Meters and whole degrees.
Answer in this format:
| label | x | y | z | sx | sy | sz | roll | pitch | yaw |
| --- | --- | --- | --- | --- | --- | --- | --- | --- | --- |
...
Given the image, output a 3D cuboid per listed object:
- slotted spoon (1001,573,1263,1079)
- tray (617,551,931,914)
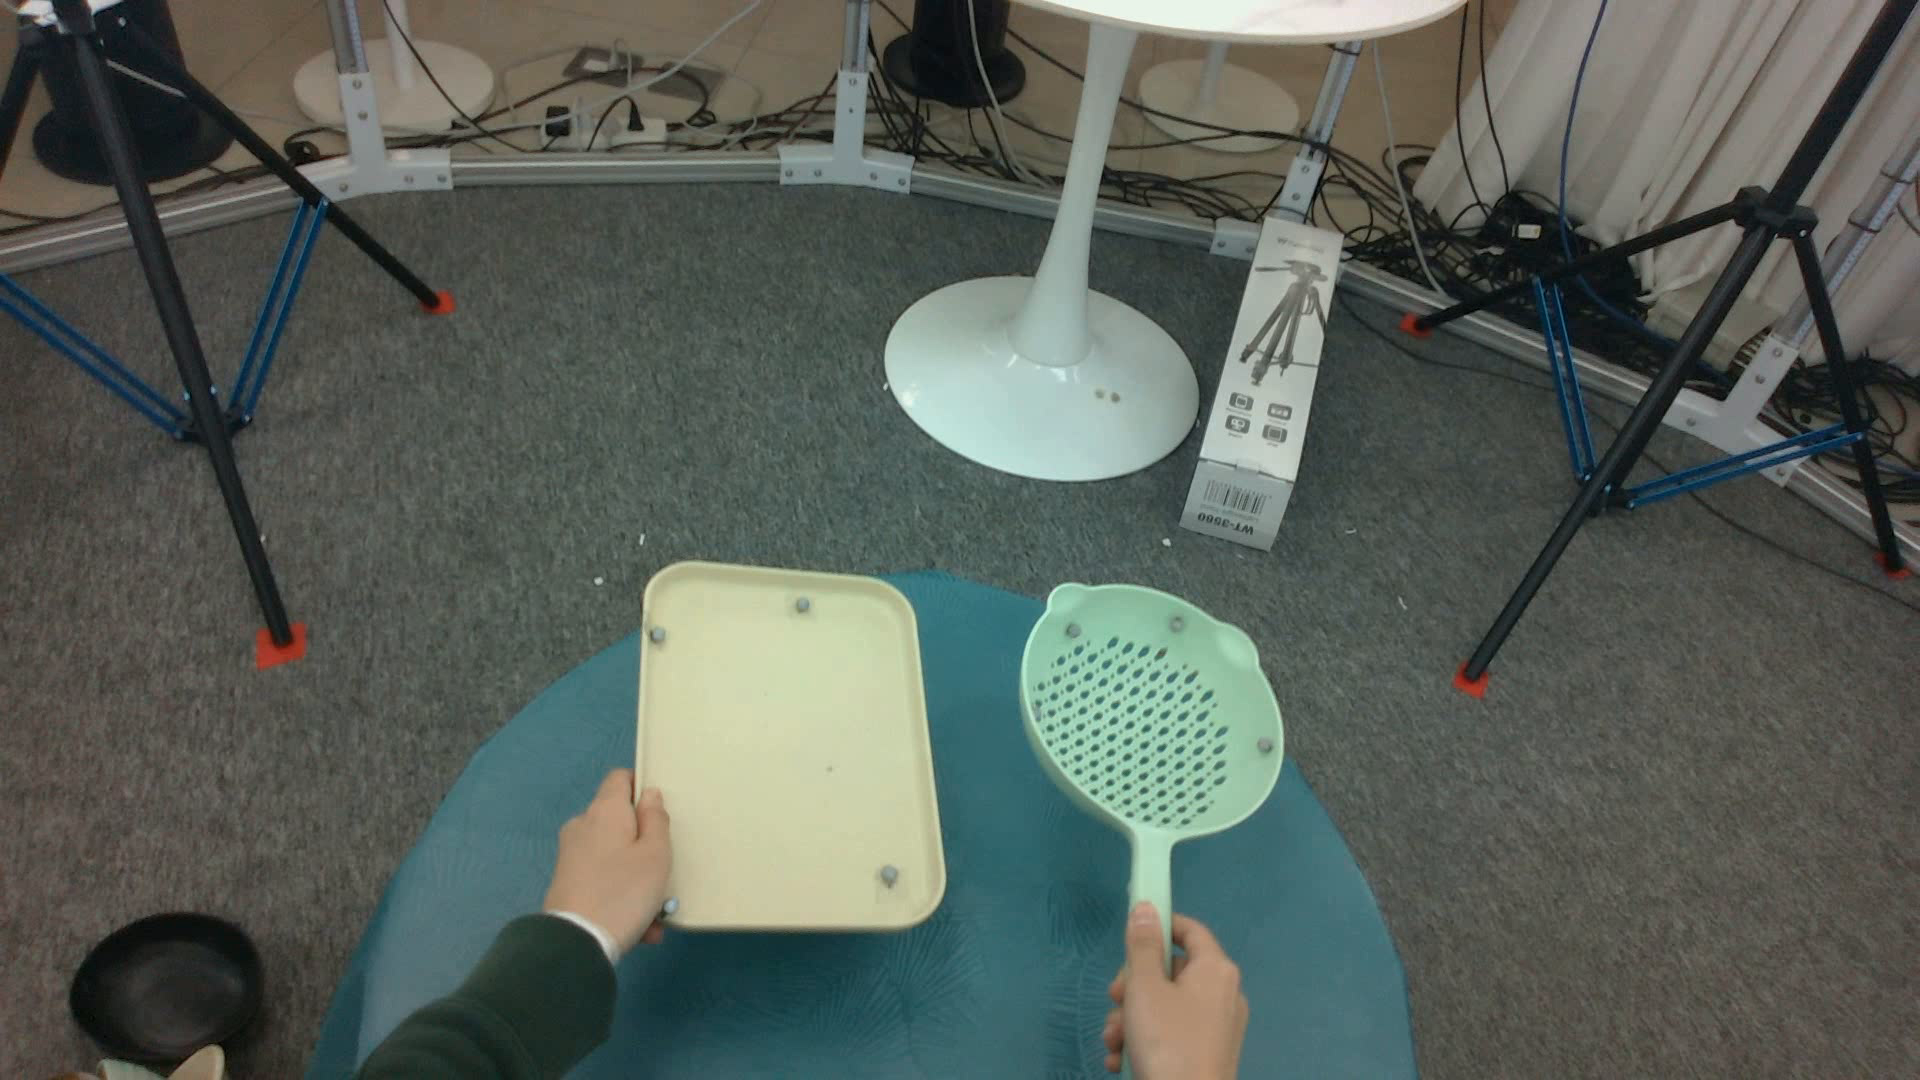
| label | x | y | z | sx | sy | sz | roll | pitch | yaw |
| --- | --- | --- | --- | --- | --- | --- | --- | --- | --- |
| slotted spoon | 0.093 | 0.171 | 0.767 | 0.169 | 0.075 | 0.360 | 15 | 40 | -10 |
| tray | -0.110 | 0.107 | 0.798 | 0.171 | 0.017 | 0.240 | 6 | 48 | -18 |
